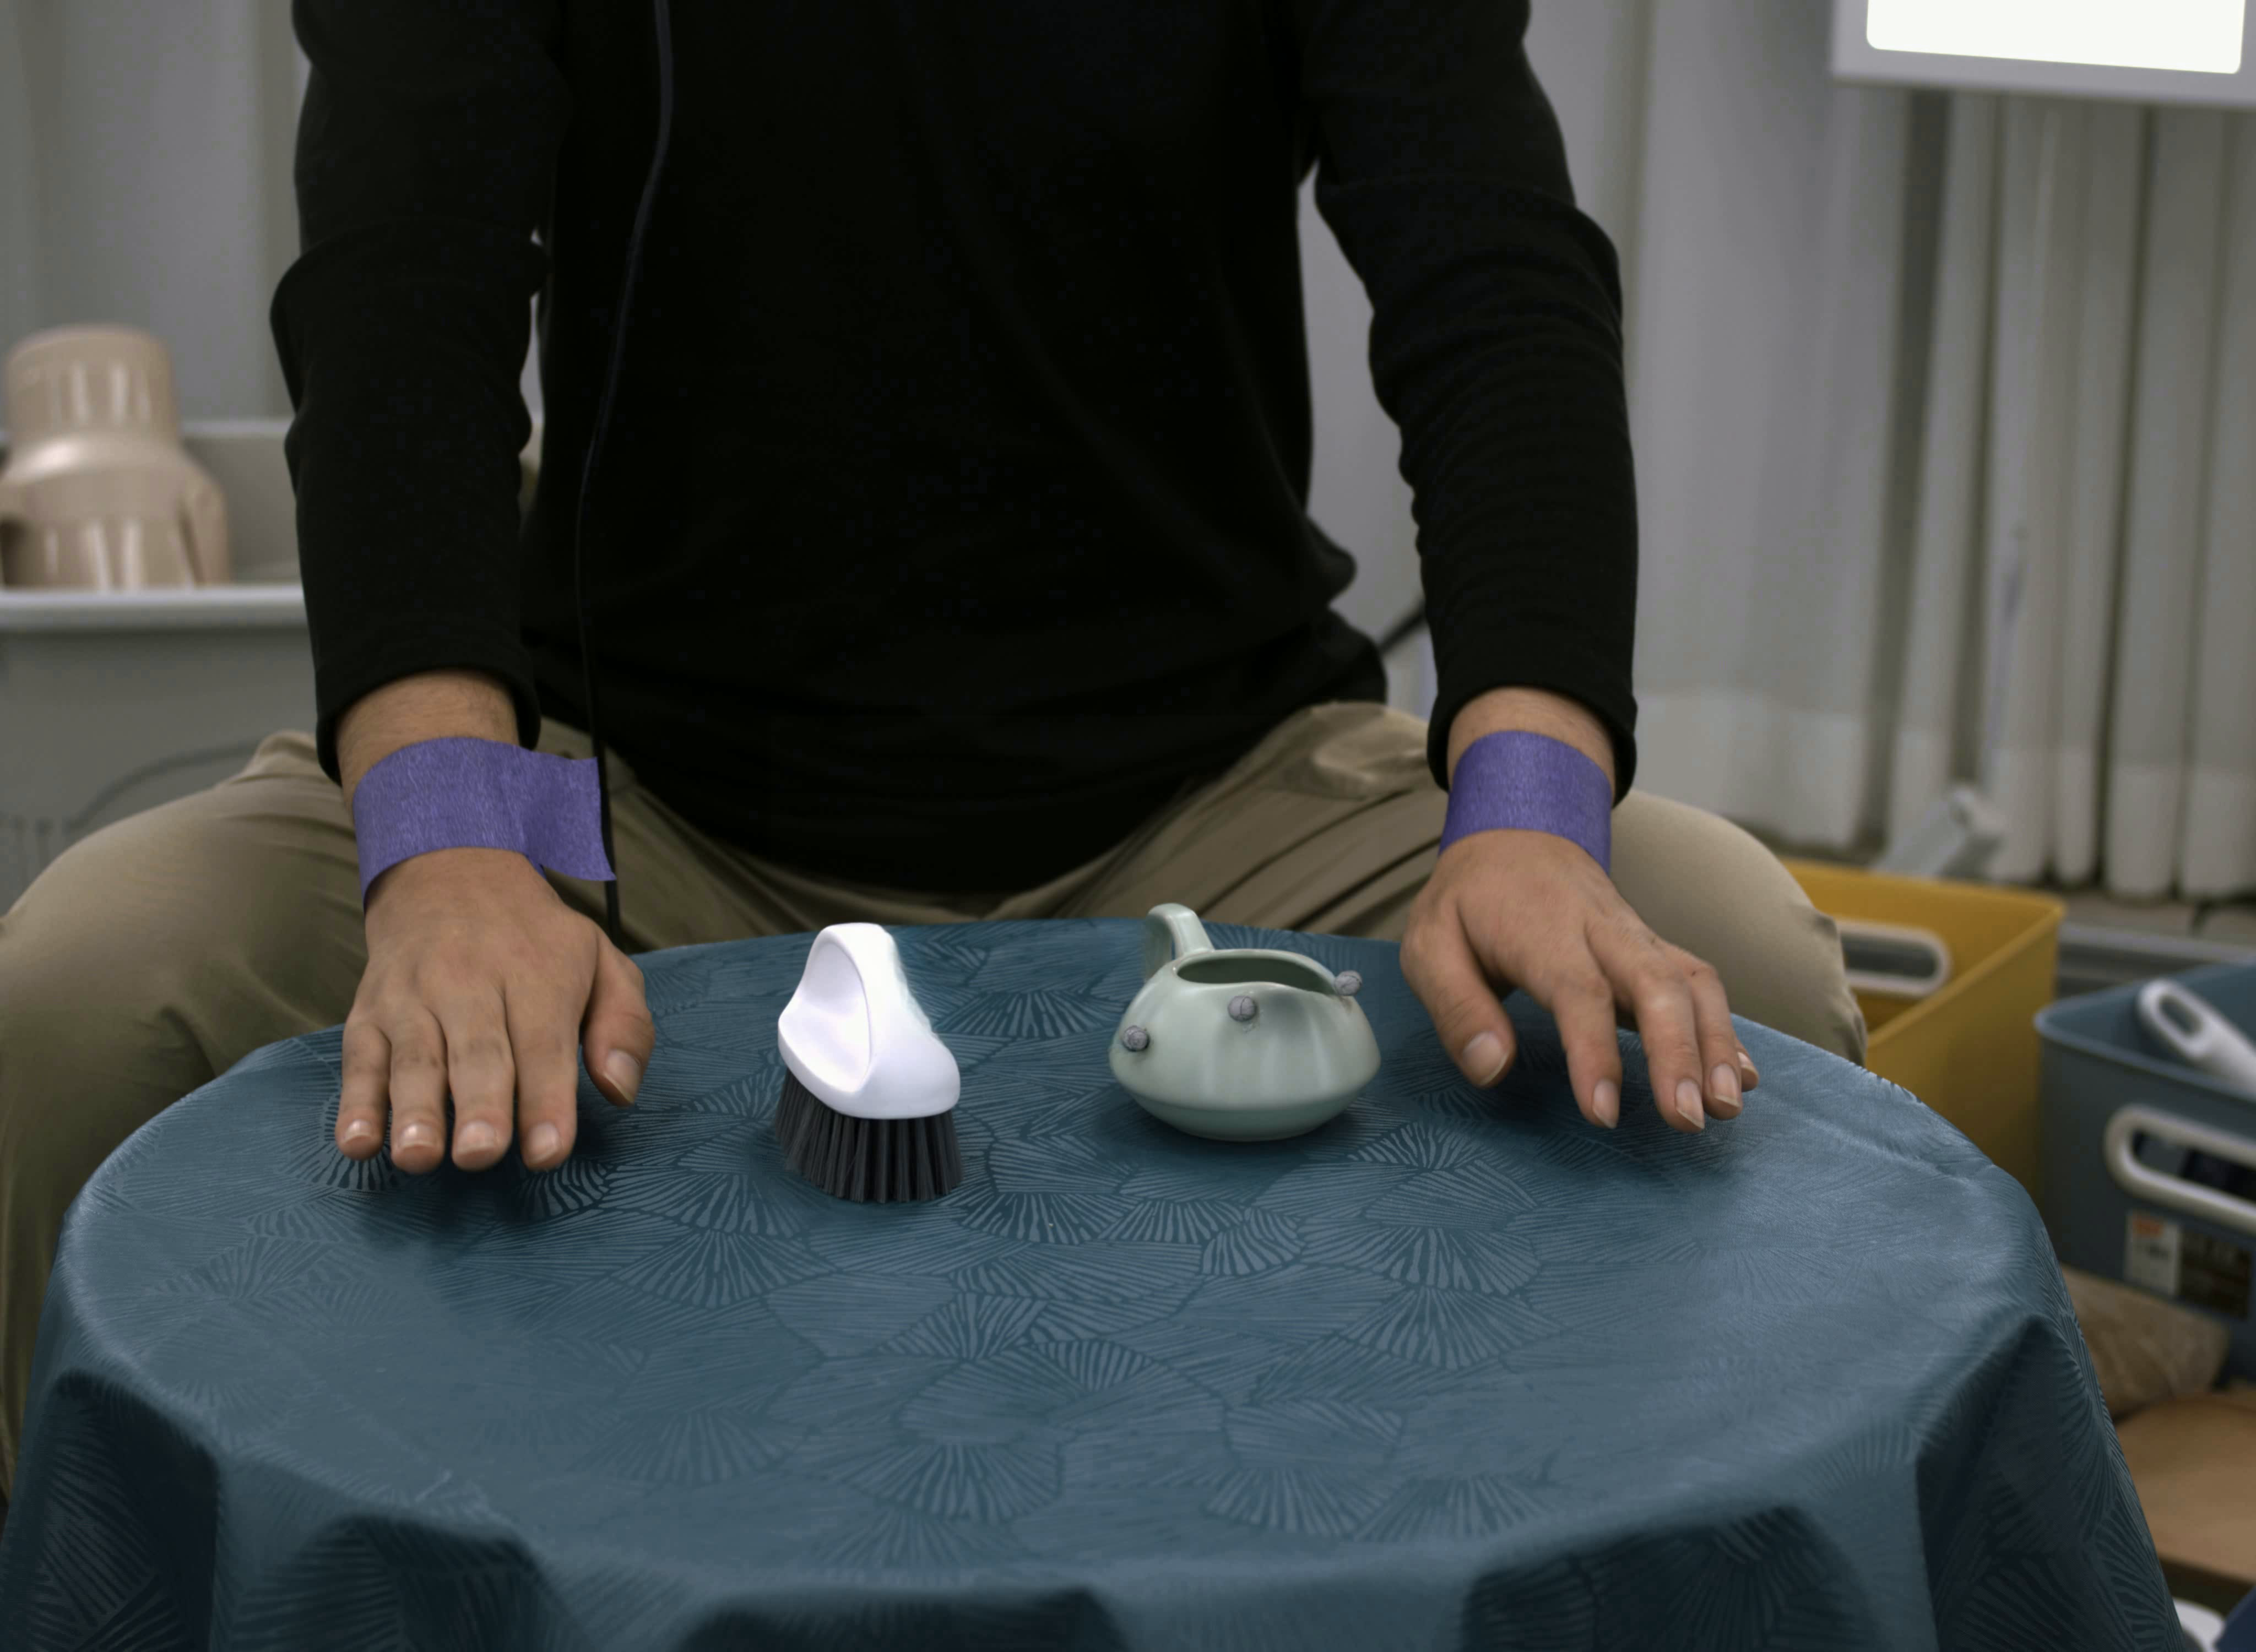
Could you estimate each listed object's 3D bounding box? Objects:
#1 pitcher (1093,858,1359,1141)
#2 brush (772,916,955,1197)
[{"bbox_3d":[0.028,0.057,1.700,0.086,0.061,0.106,-14,35,-9],"label":"pitcher"},{"bbox_3d":[-0.083,0.067,1.643,0.050,0.073,0.098,-2,17,-15],"label":"brush"}]
